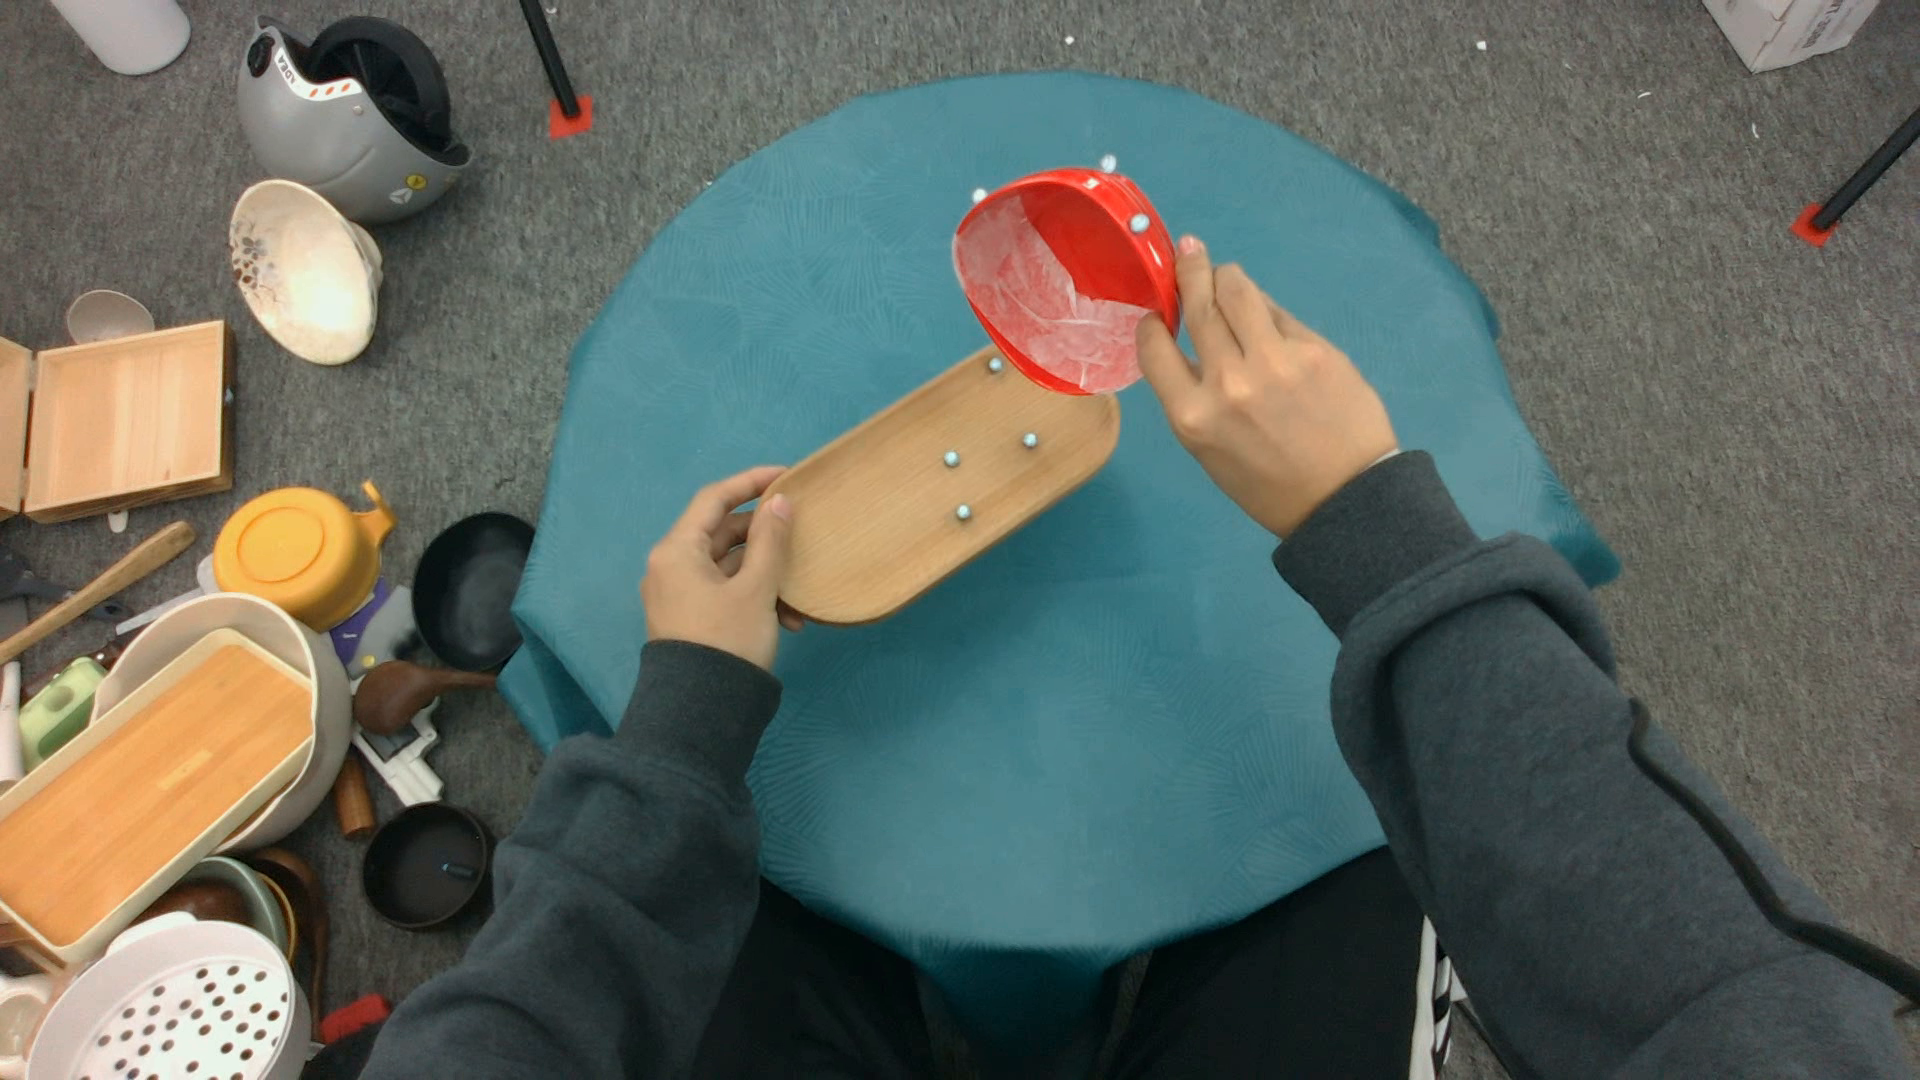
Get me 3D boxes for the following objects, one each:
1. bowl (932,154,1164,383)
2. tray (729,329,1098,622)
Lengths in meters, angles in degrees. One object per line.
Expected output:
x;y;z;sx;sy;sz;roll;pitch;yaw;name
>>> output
0.050;-0.135;0.654;0.119;0.118;0.051;31;51;14;bowl
-0.022;-0.039;0.750;0.232;0.020;0.102;-37;72;-22;tray
